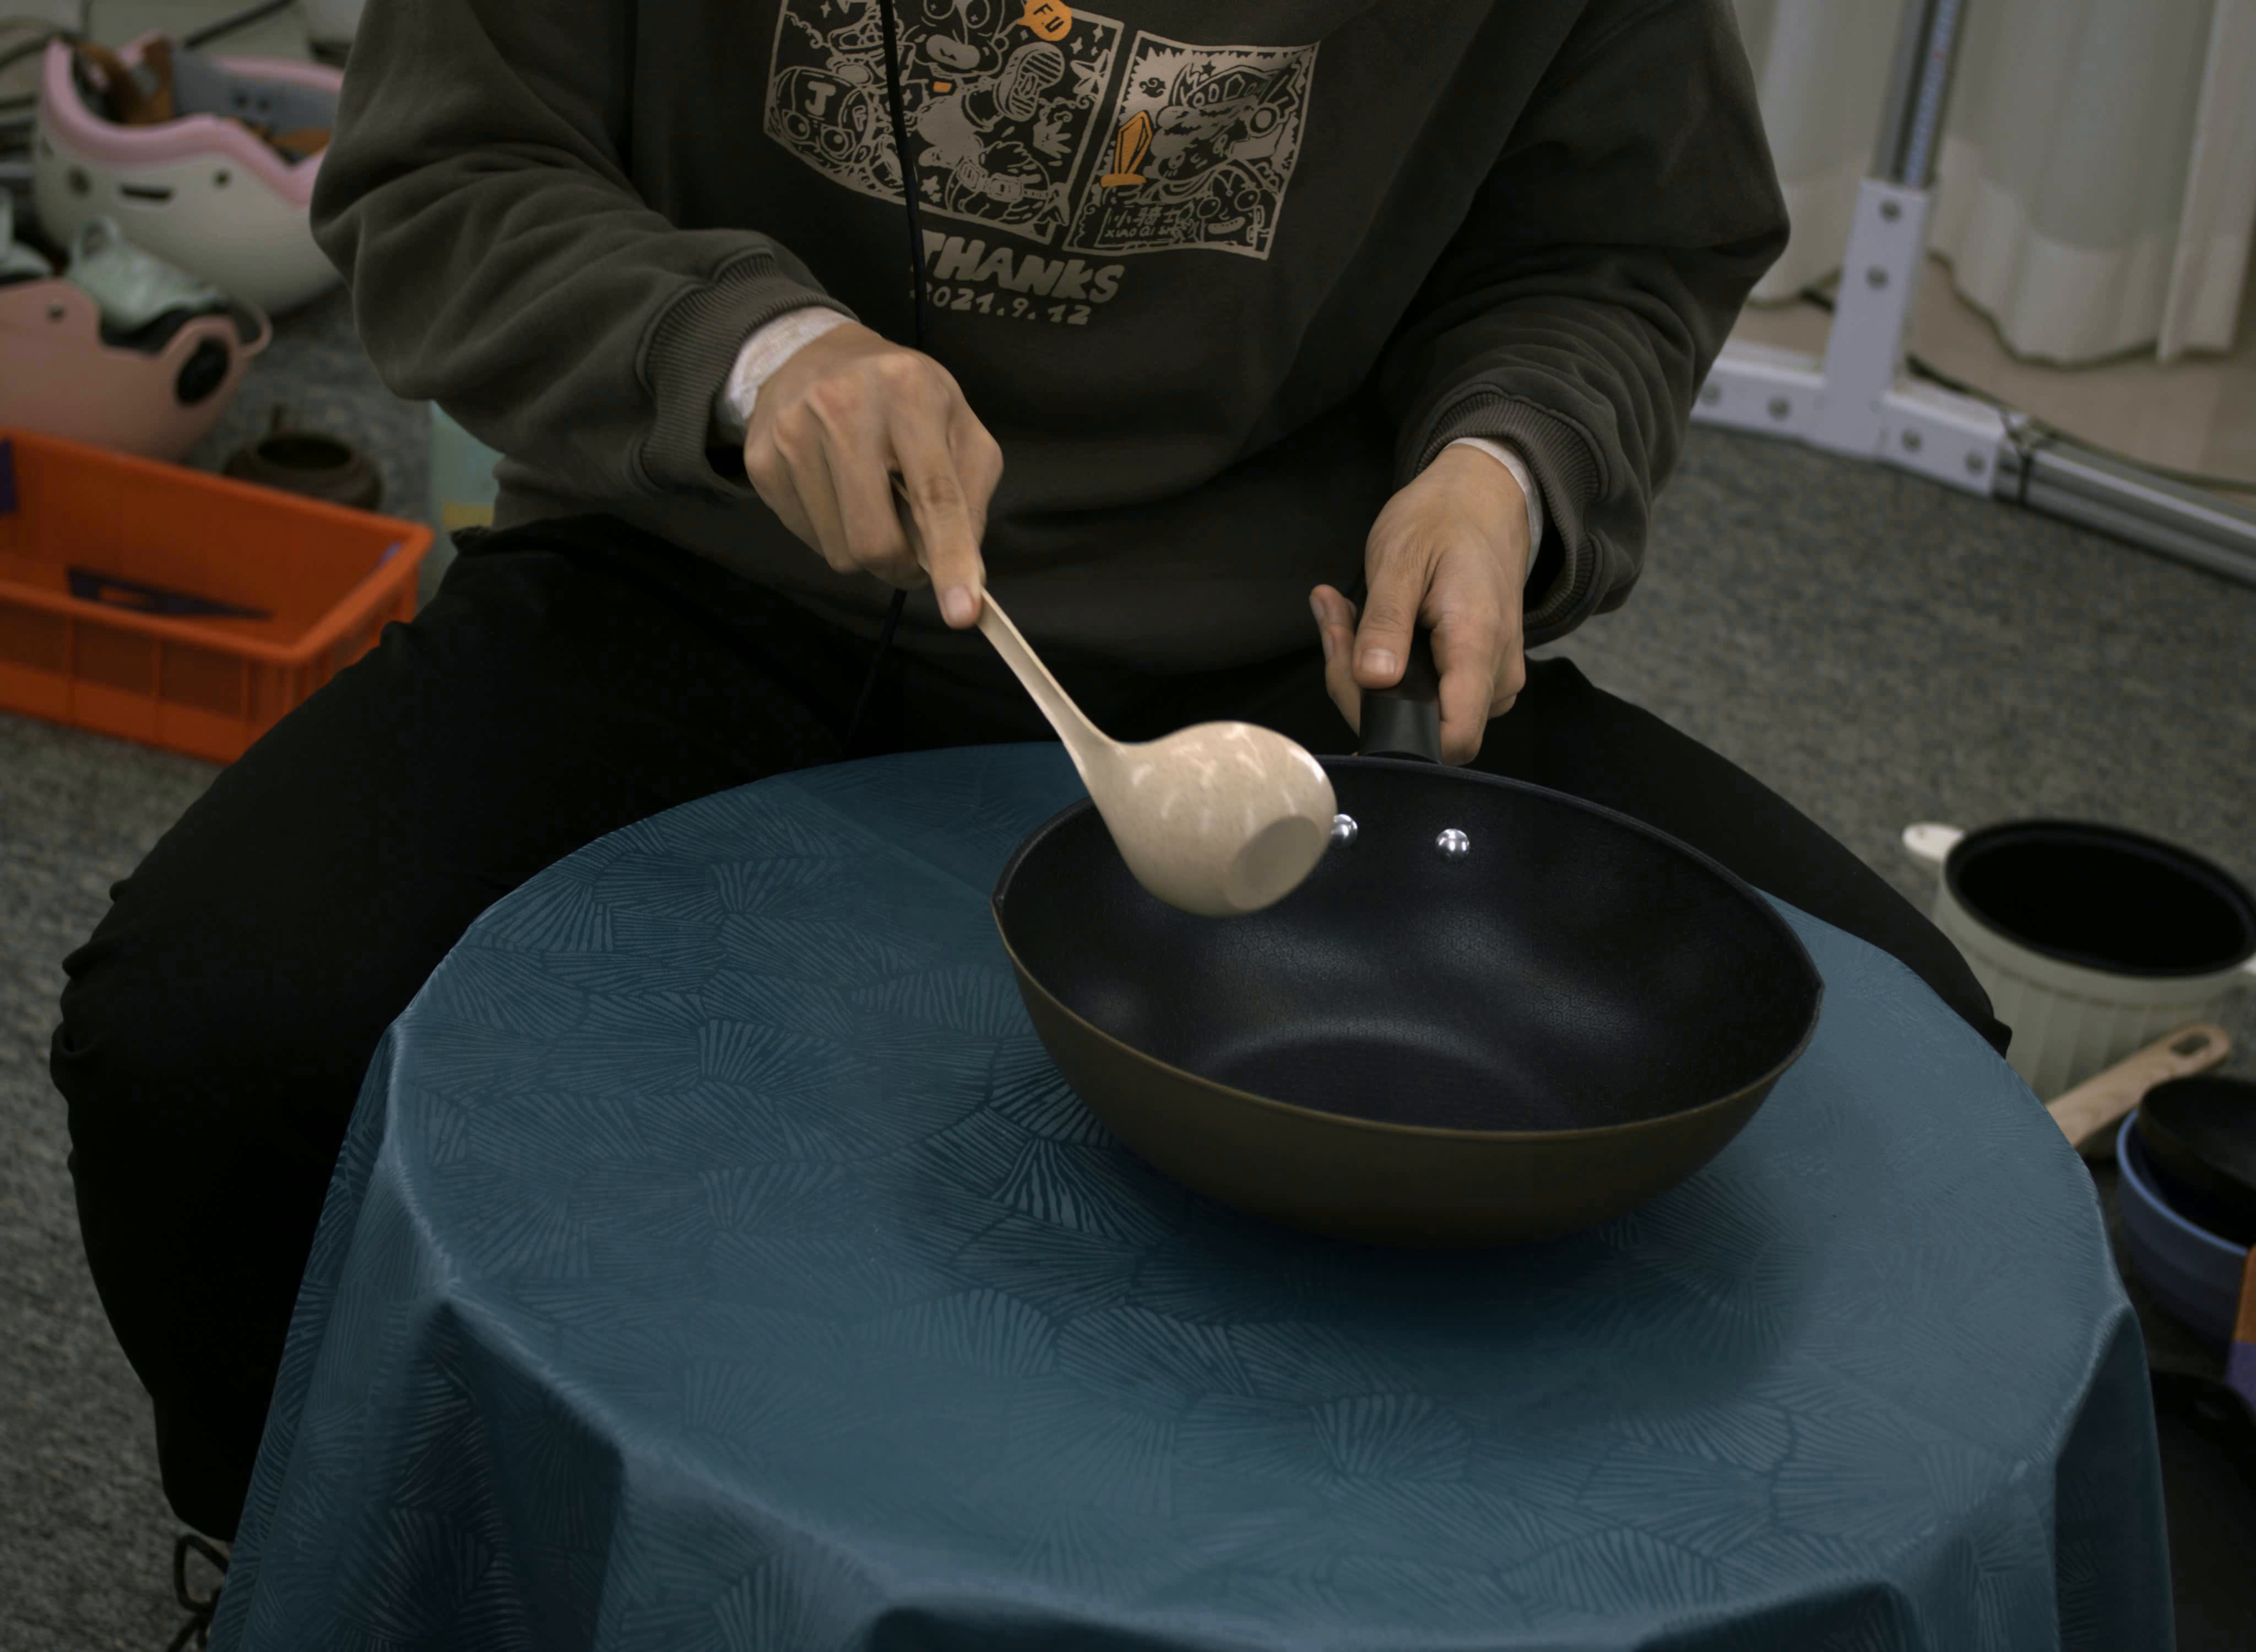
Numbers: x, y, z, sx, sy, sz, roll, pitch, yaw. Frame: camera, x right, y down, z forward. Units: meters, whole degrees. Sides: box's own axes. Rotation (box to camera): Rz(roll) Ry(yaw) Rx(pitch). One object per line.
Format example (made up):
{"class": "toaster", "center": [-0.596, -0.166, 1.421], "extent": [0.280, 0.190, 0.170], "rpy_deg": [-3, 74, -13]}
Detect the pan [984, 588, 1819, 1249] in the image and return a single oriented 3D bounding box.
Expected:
{"class": "pan", "center": [0.093, 0.033, 1.915], "extent": [0.287, 0.086, 0.465], "rpy_deg": [6, 24, 0]}

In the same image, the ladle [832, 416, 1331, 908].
{"class": "ladle", "center": [-0.017, -0.068, 1.858], "extent": [0.072, 0.072, 0.257], "rpy_deg": [-8, 43, -31]}
